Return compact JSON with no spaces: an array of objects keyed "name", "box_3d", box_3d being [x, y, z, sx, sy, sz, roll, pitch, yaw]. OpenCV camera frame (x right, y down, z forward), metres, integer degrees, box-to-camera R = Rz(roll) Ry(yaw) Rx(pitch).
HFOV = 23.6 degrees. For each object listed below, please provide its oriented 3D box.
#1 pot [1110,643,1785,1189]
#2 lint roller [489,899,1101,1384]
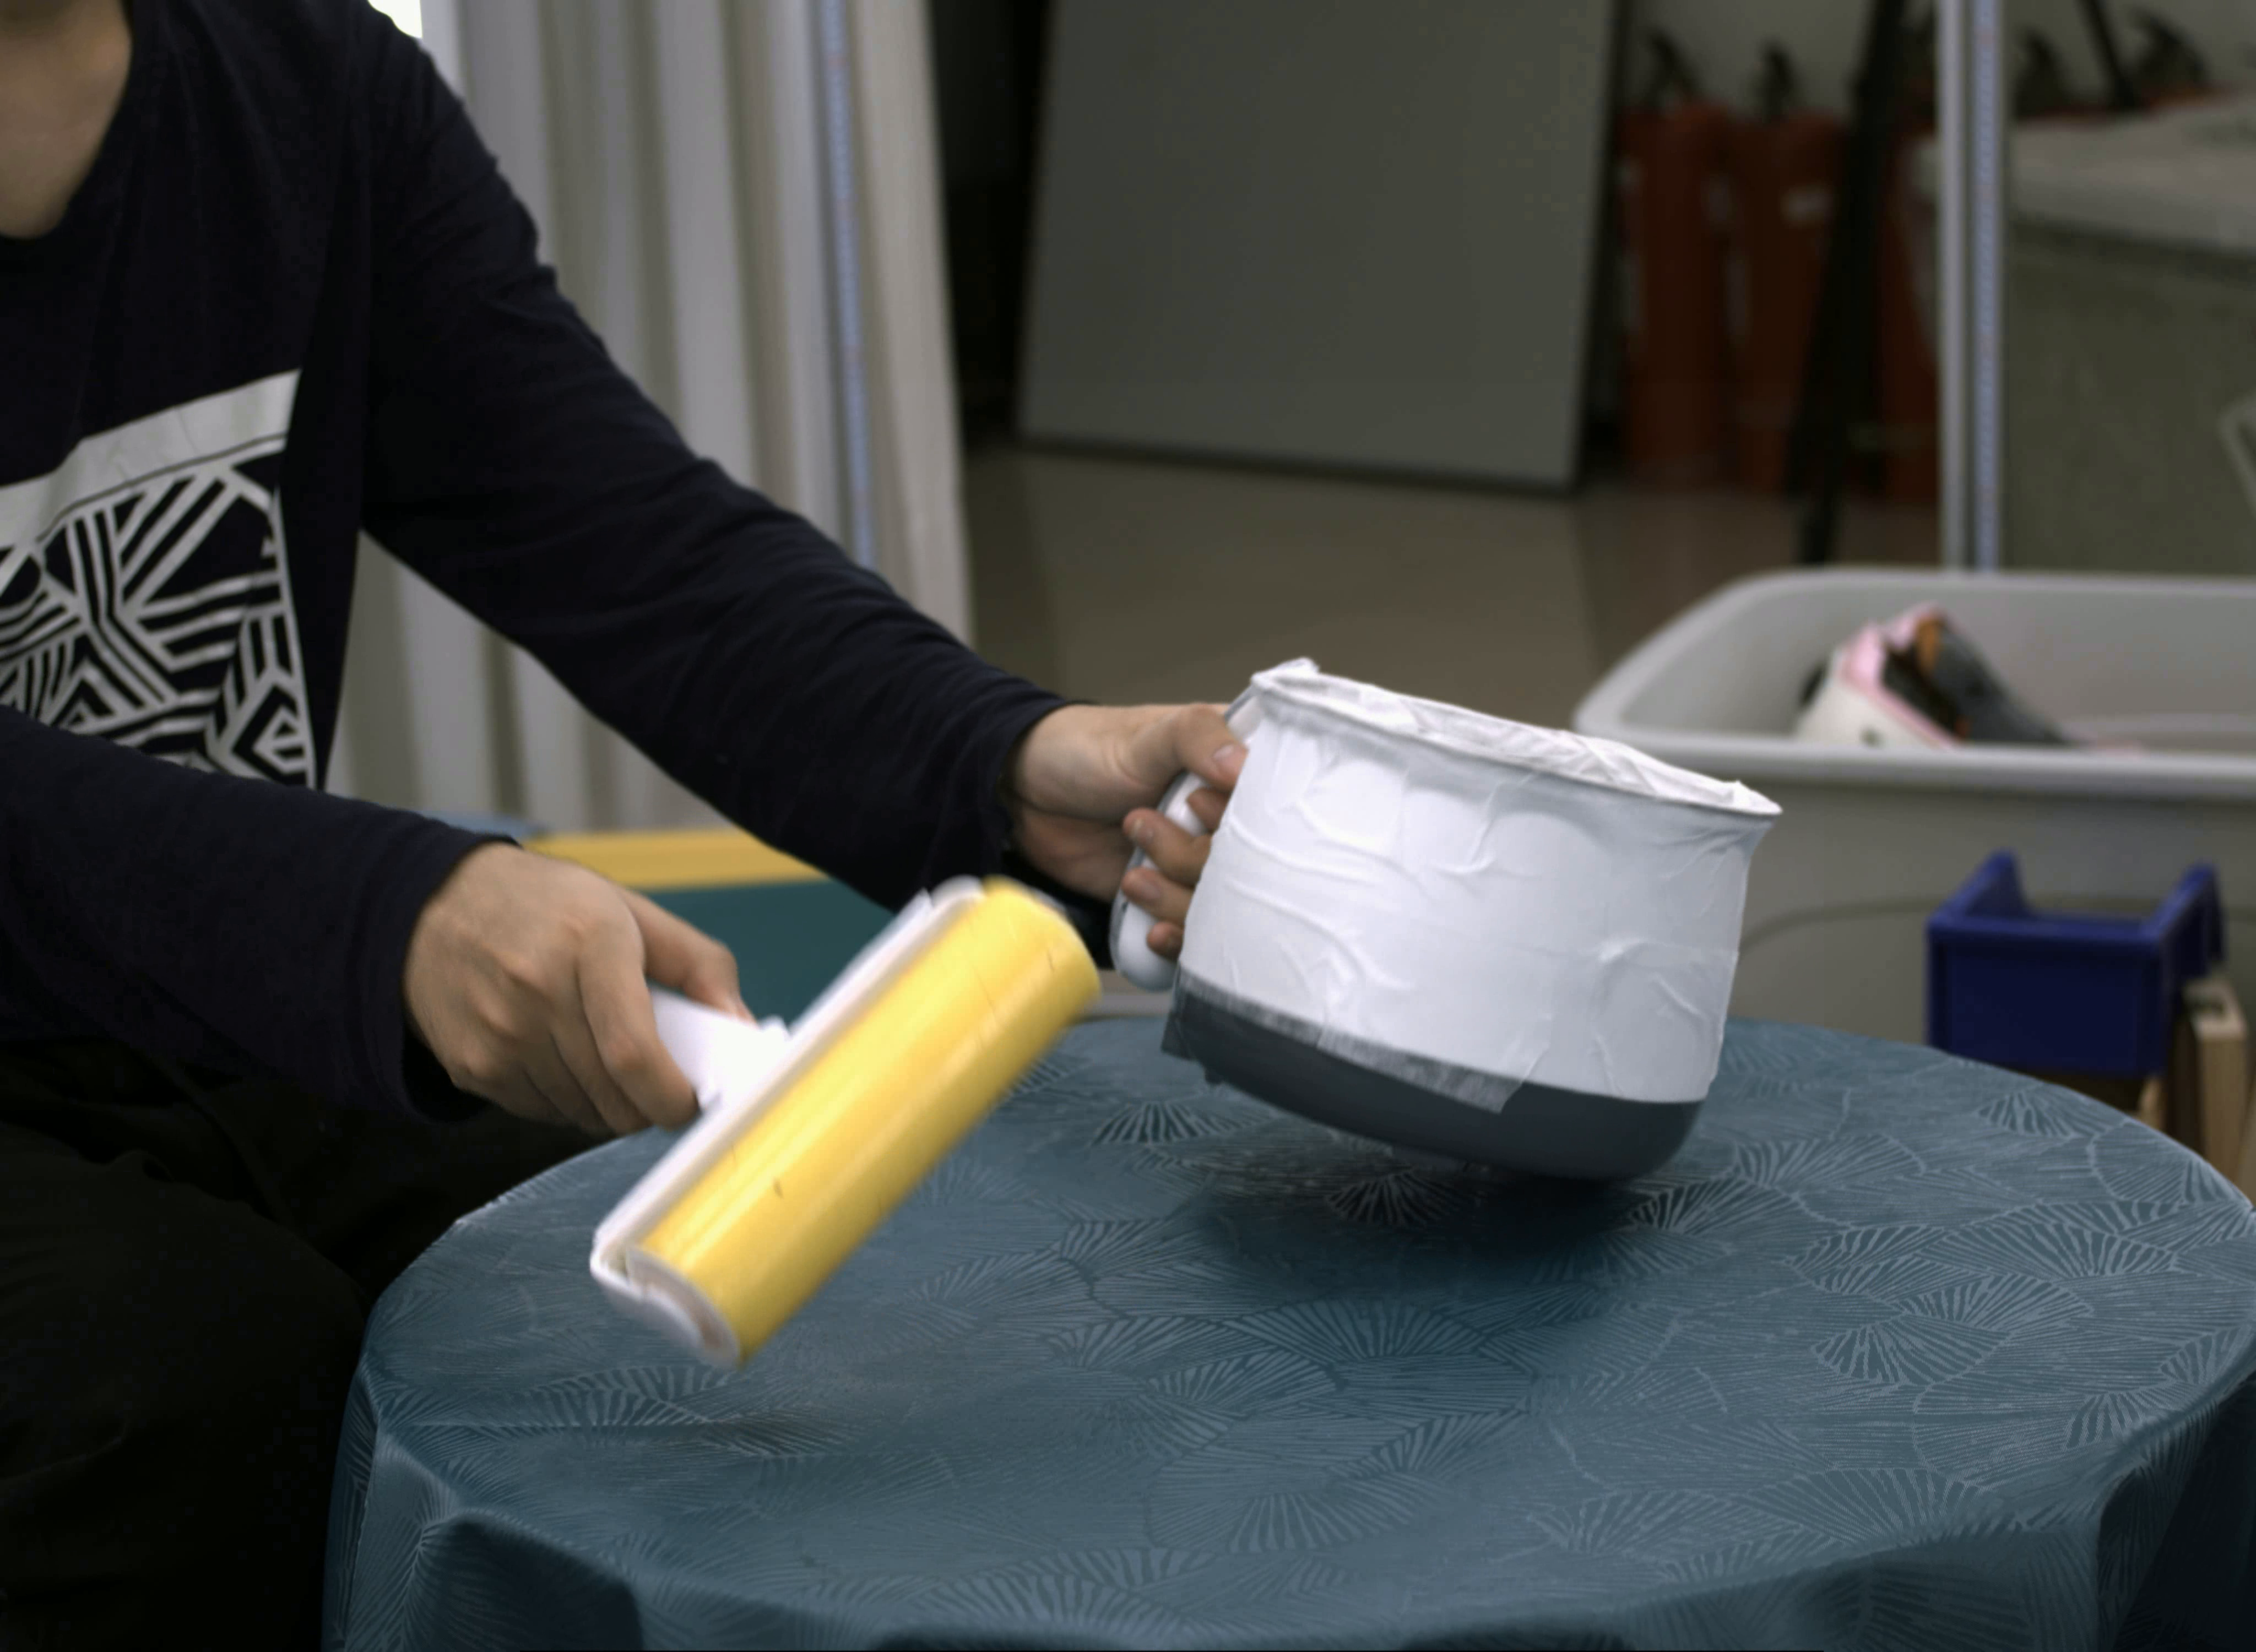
[{"name":"pot","box_3d":[0.090,0.024,1.749,0.236,0.138,0.175,21,7,43]},{"name":"lint roller","box_3d":[-0.128,0.068,1.614,0.193,0.051,0.173,24,58,36]}]
